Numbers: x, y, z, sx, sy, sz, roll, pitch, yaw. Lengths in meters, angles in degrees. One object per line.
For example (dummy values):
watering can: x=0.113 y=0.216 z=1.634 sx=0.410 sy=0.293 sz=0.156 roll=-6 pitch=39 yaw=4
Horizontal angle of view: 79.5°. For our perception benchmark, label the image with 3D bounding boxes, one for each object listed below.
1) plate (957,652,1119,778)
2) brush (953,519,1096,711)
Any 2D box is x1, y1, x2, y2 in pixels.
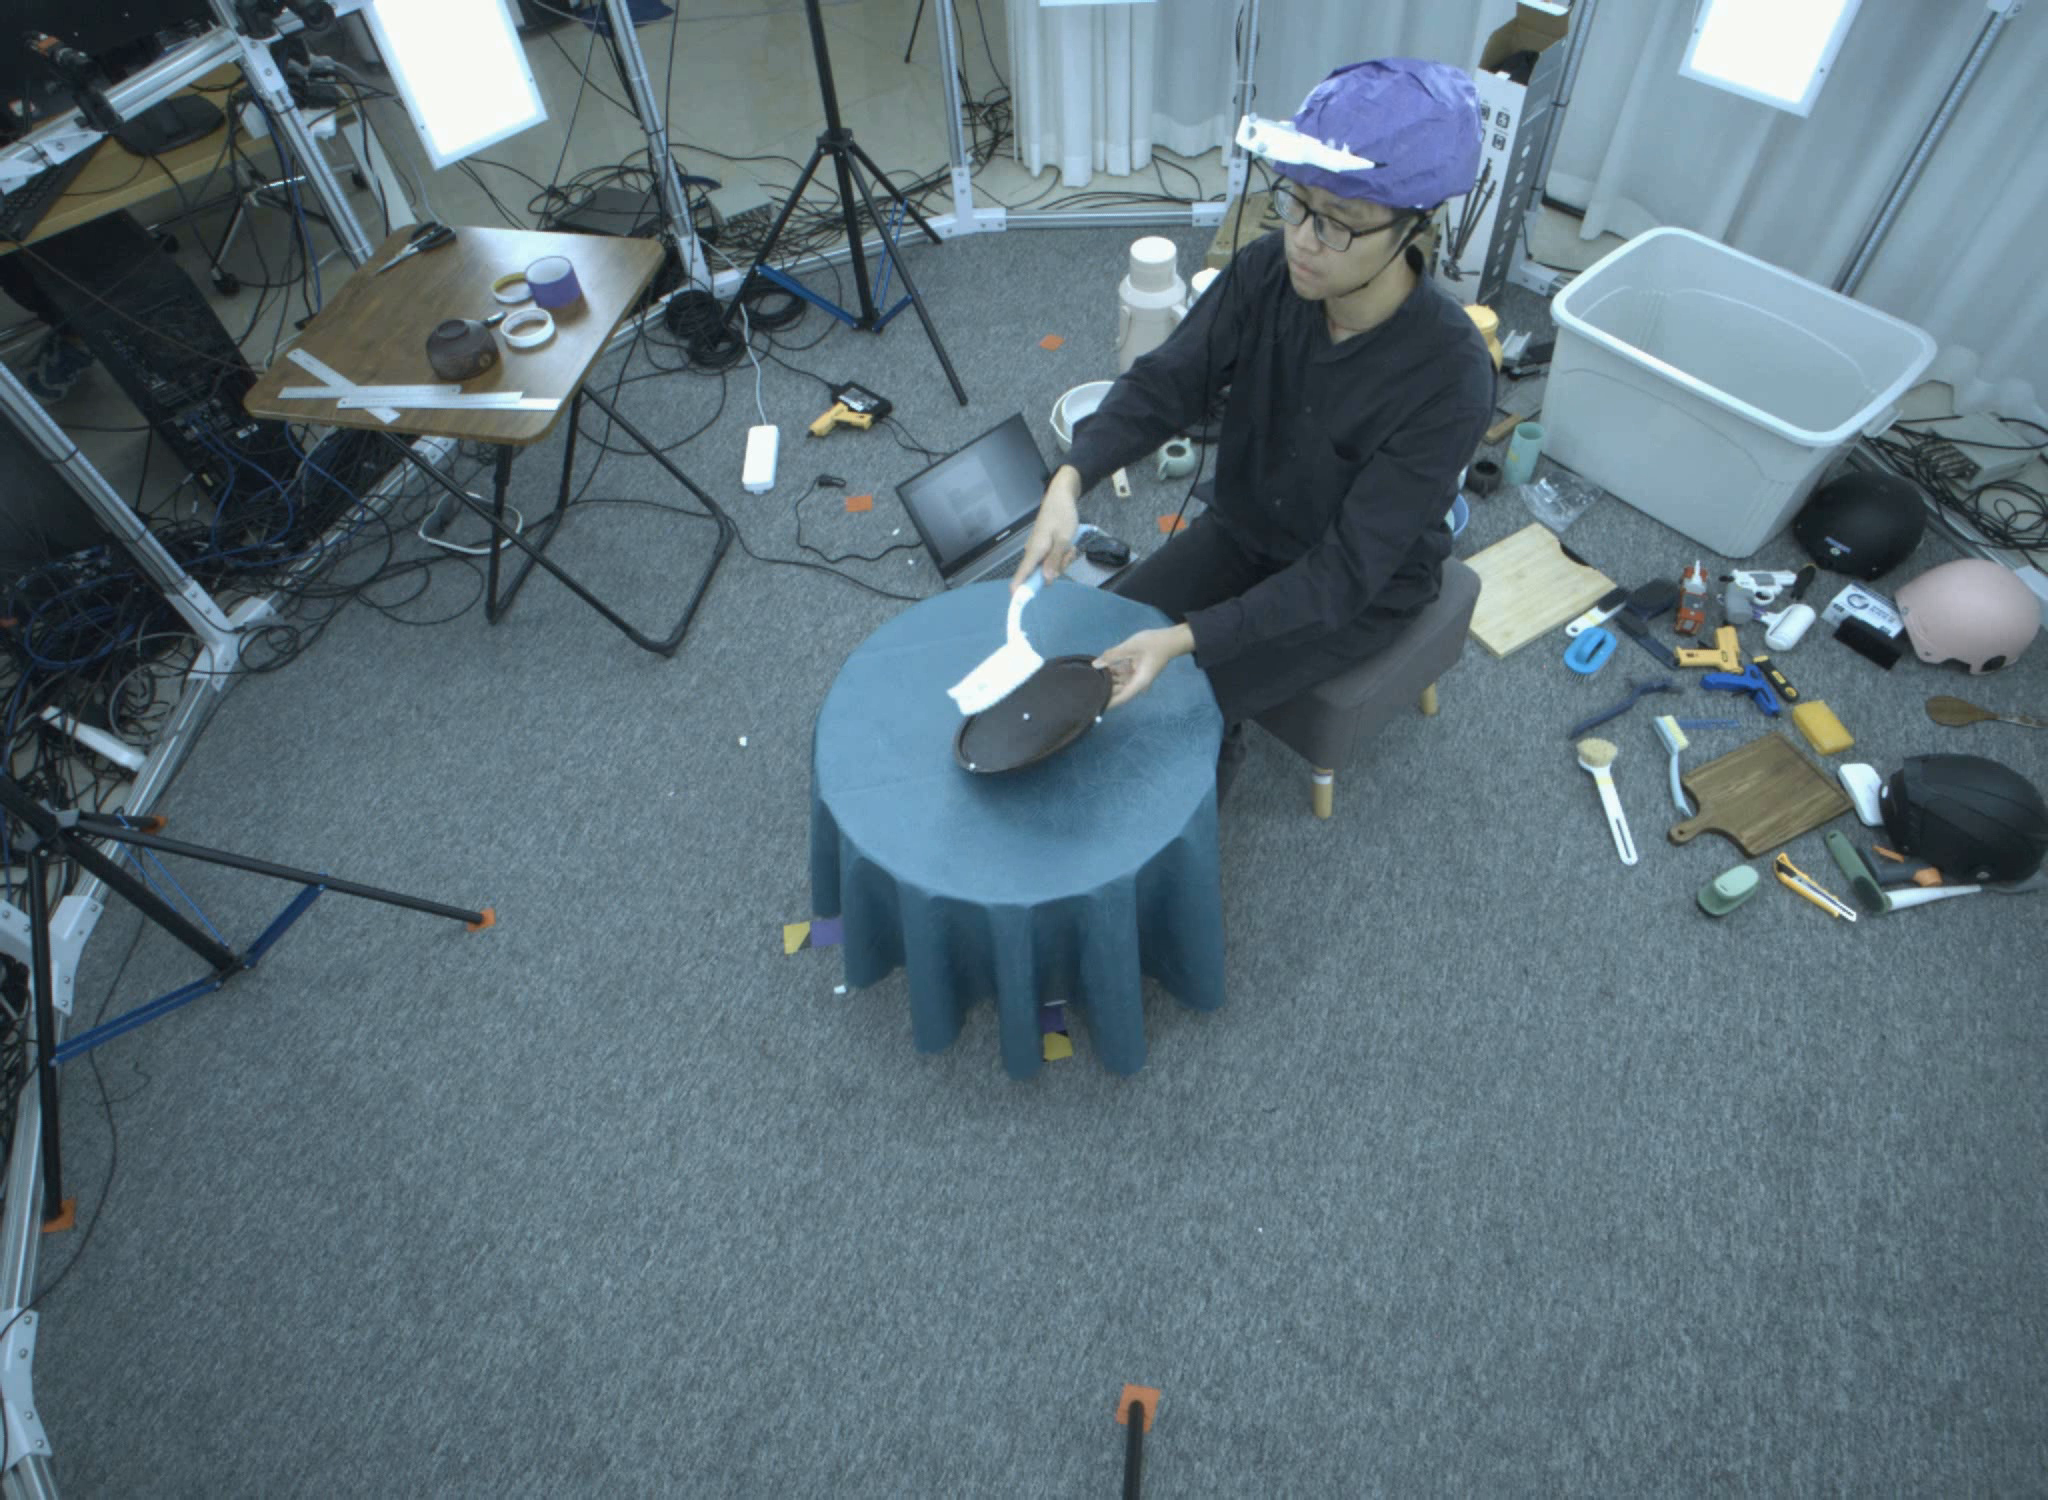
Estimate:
plate: x=0.020 y=-0.050 z=1.725 sx=0.253 sy=0.029 sz=0.252 roll=-23 pitch=30 yaw=16
brush: x=0.025 y=-0.176 z=1.681 sx=0.081 sy=0.086 sz=0.326 roll=27 pitch=73 yaw=31
